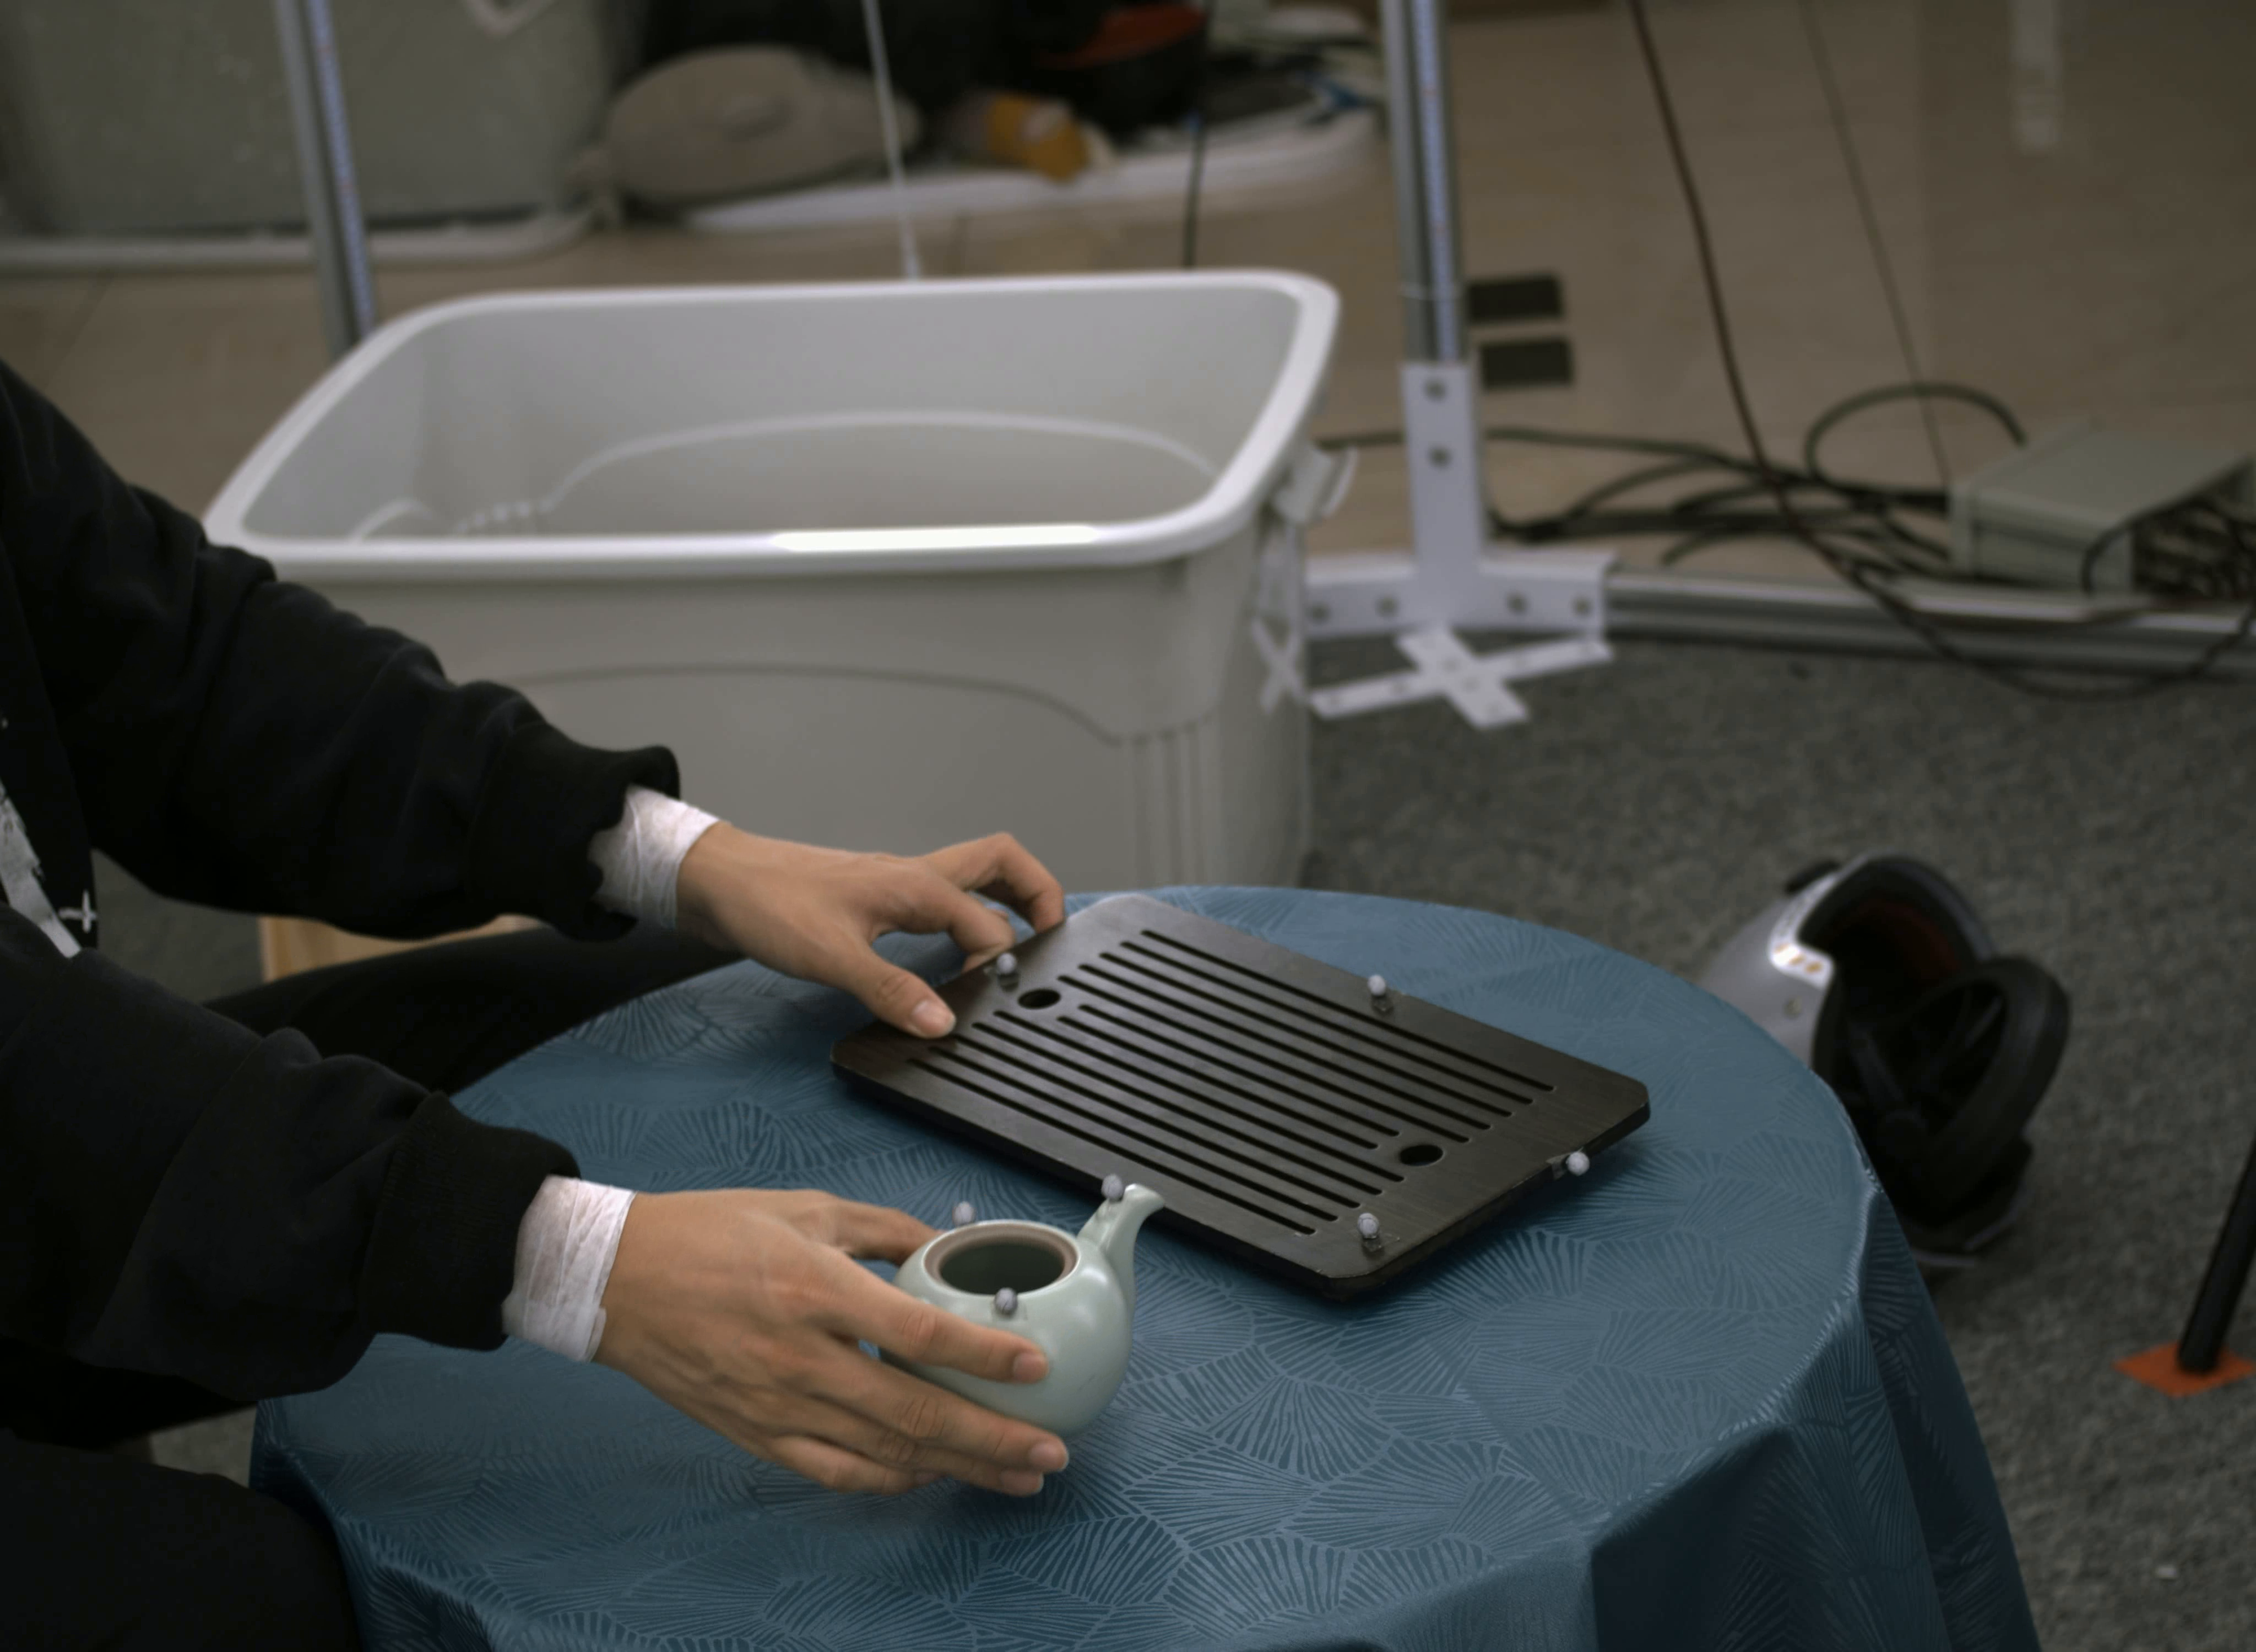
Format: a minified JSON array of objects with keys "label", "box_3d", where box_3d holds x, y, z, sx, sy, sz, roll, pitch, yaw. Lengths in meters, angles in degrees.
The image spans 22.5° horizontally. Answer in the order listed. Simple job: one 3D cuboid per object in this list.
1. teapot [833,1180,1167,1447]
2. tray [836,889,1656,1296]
[{"label":"teapot","box_3d":[-0.043,0.174,1.967,0.143,0.076,0.087,-17,28,-35]},{"label":"tray","box_3d":[0.042,0.100,2.194,0.168,0.019,0.303,-28,32,-34]}]
